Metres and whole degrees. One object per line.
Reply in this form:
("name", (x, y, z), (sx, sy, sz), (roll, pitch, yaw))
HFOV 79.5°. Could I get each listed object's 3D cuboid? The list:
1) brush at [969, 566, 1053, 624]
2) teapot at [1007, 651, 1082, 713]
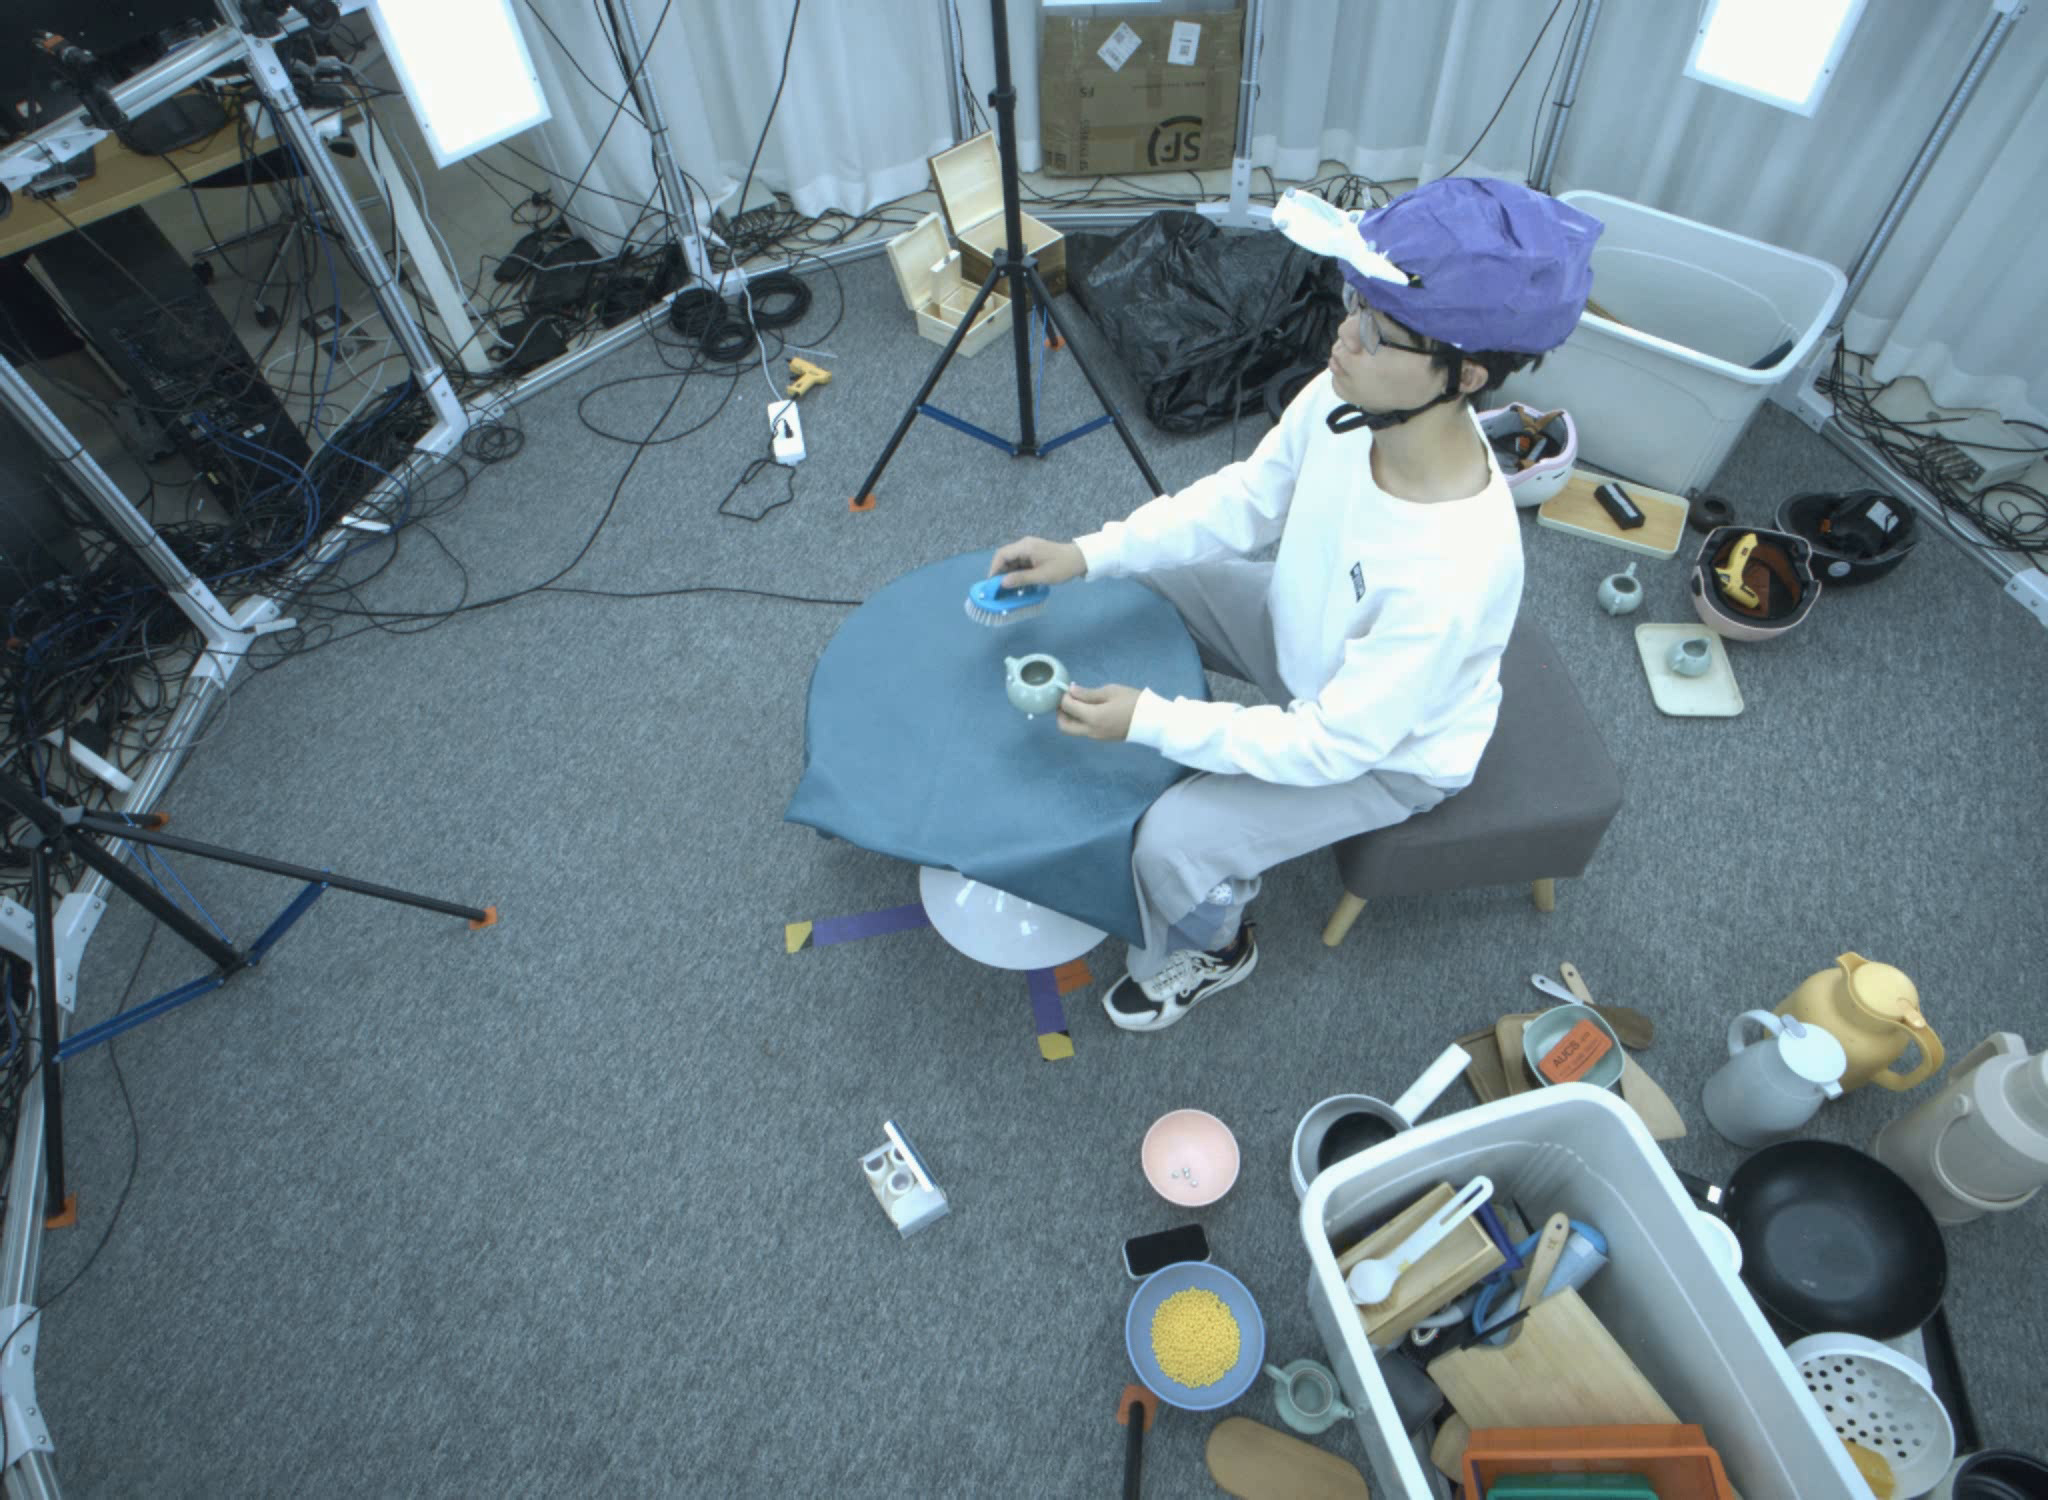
("brush", (-0.020, -0.239, 1.829), (0.144, 0.064, 0.082), (-21, 46, -39))
("teapot", (0.030, -0.091, 1.732), (0.126, 0.061, 0.092), (32, 61, 24))
